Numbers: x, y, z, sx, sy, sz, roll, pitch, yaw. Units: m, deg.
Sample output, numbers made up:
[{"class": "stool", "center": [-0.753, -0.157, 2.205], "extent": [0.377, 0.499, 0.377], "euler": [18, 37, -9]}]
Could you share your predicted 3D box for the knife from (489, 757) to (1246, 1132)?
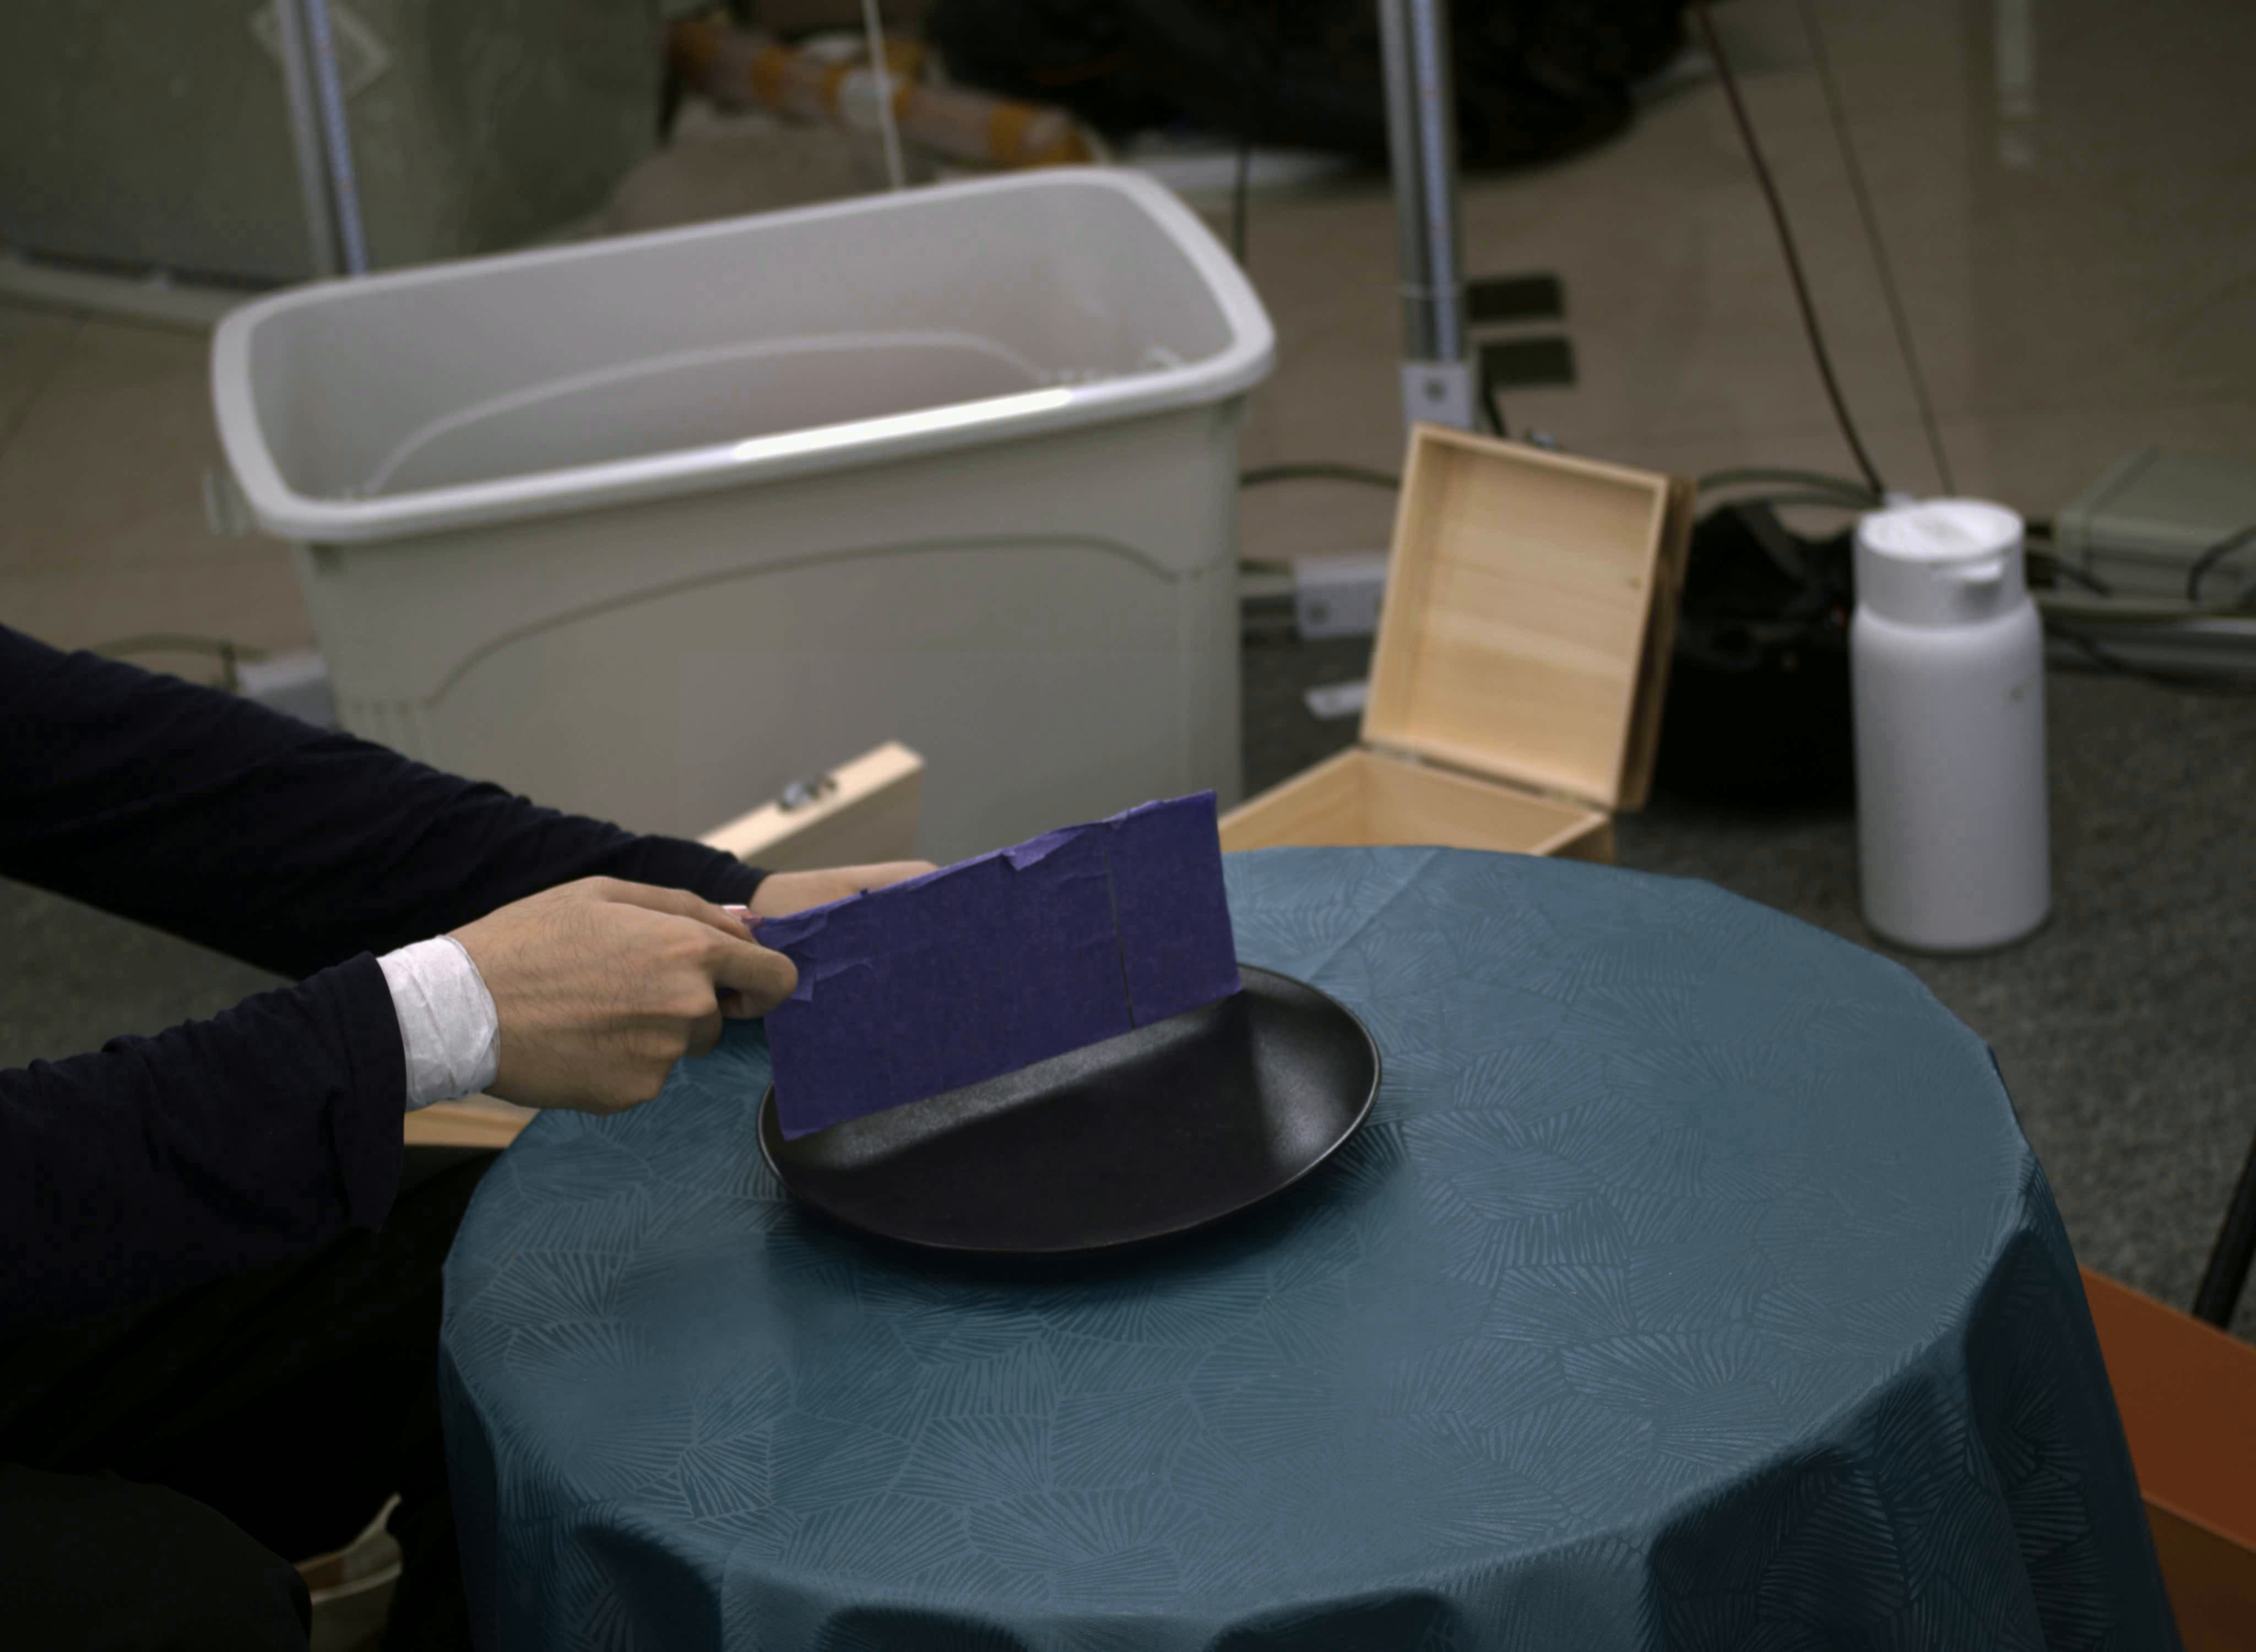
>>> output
[{"class": "knife", "center": [-0.091, 0.064, 2.171], "extent": [0.314, 0.105, 0.032], "euler": [-17, 23, -23]}]

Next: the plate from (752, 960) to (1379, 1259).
[{"class": "plate", "center": [-0.024, 0.112, 2.185], "extent": [0.244, 0.024, 0.241], "euler": [-5, 26, 3]}]
